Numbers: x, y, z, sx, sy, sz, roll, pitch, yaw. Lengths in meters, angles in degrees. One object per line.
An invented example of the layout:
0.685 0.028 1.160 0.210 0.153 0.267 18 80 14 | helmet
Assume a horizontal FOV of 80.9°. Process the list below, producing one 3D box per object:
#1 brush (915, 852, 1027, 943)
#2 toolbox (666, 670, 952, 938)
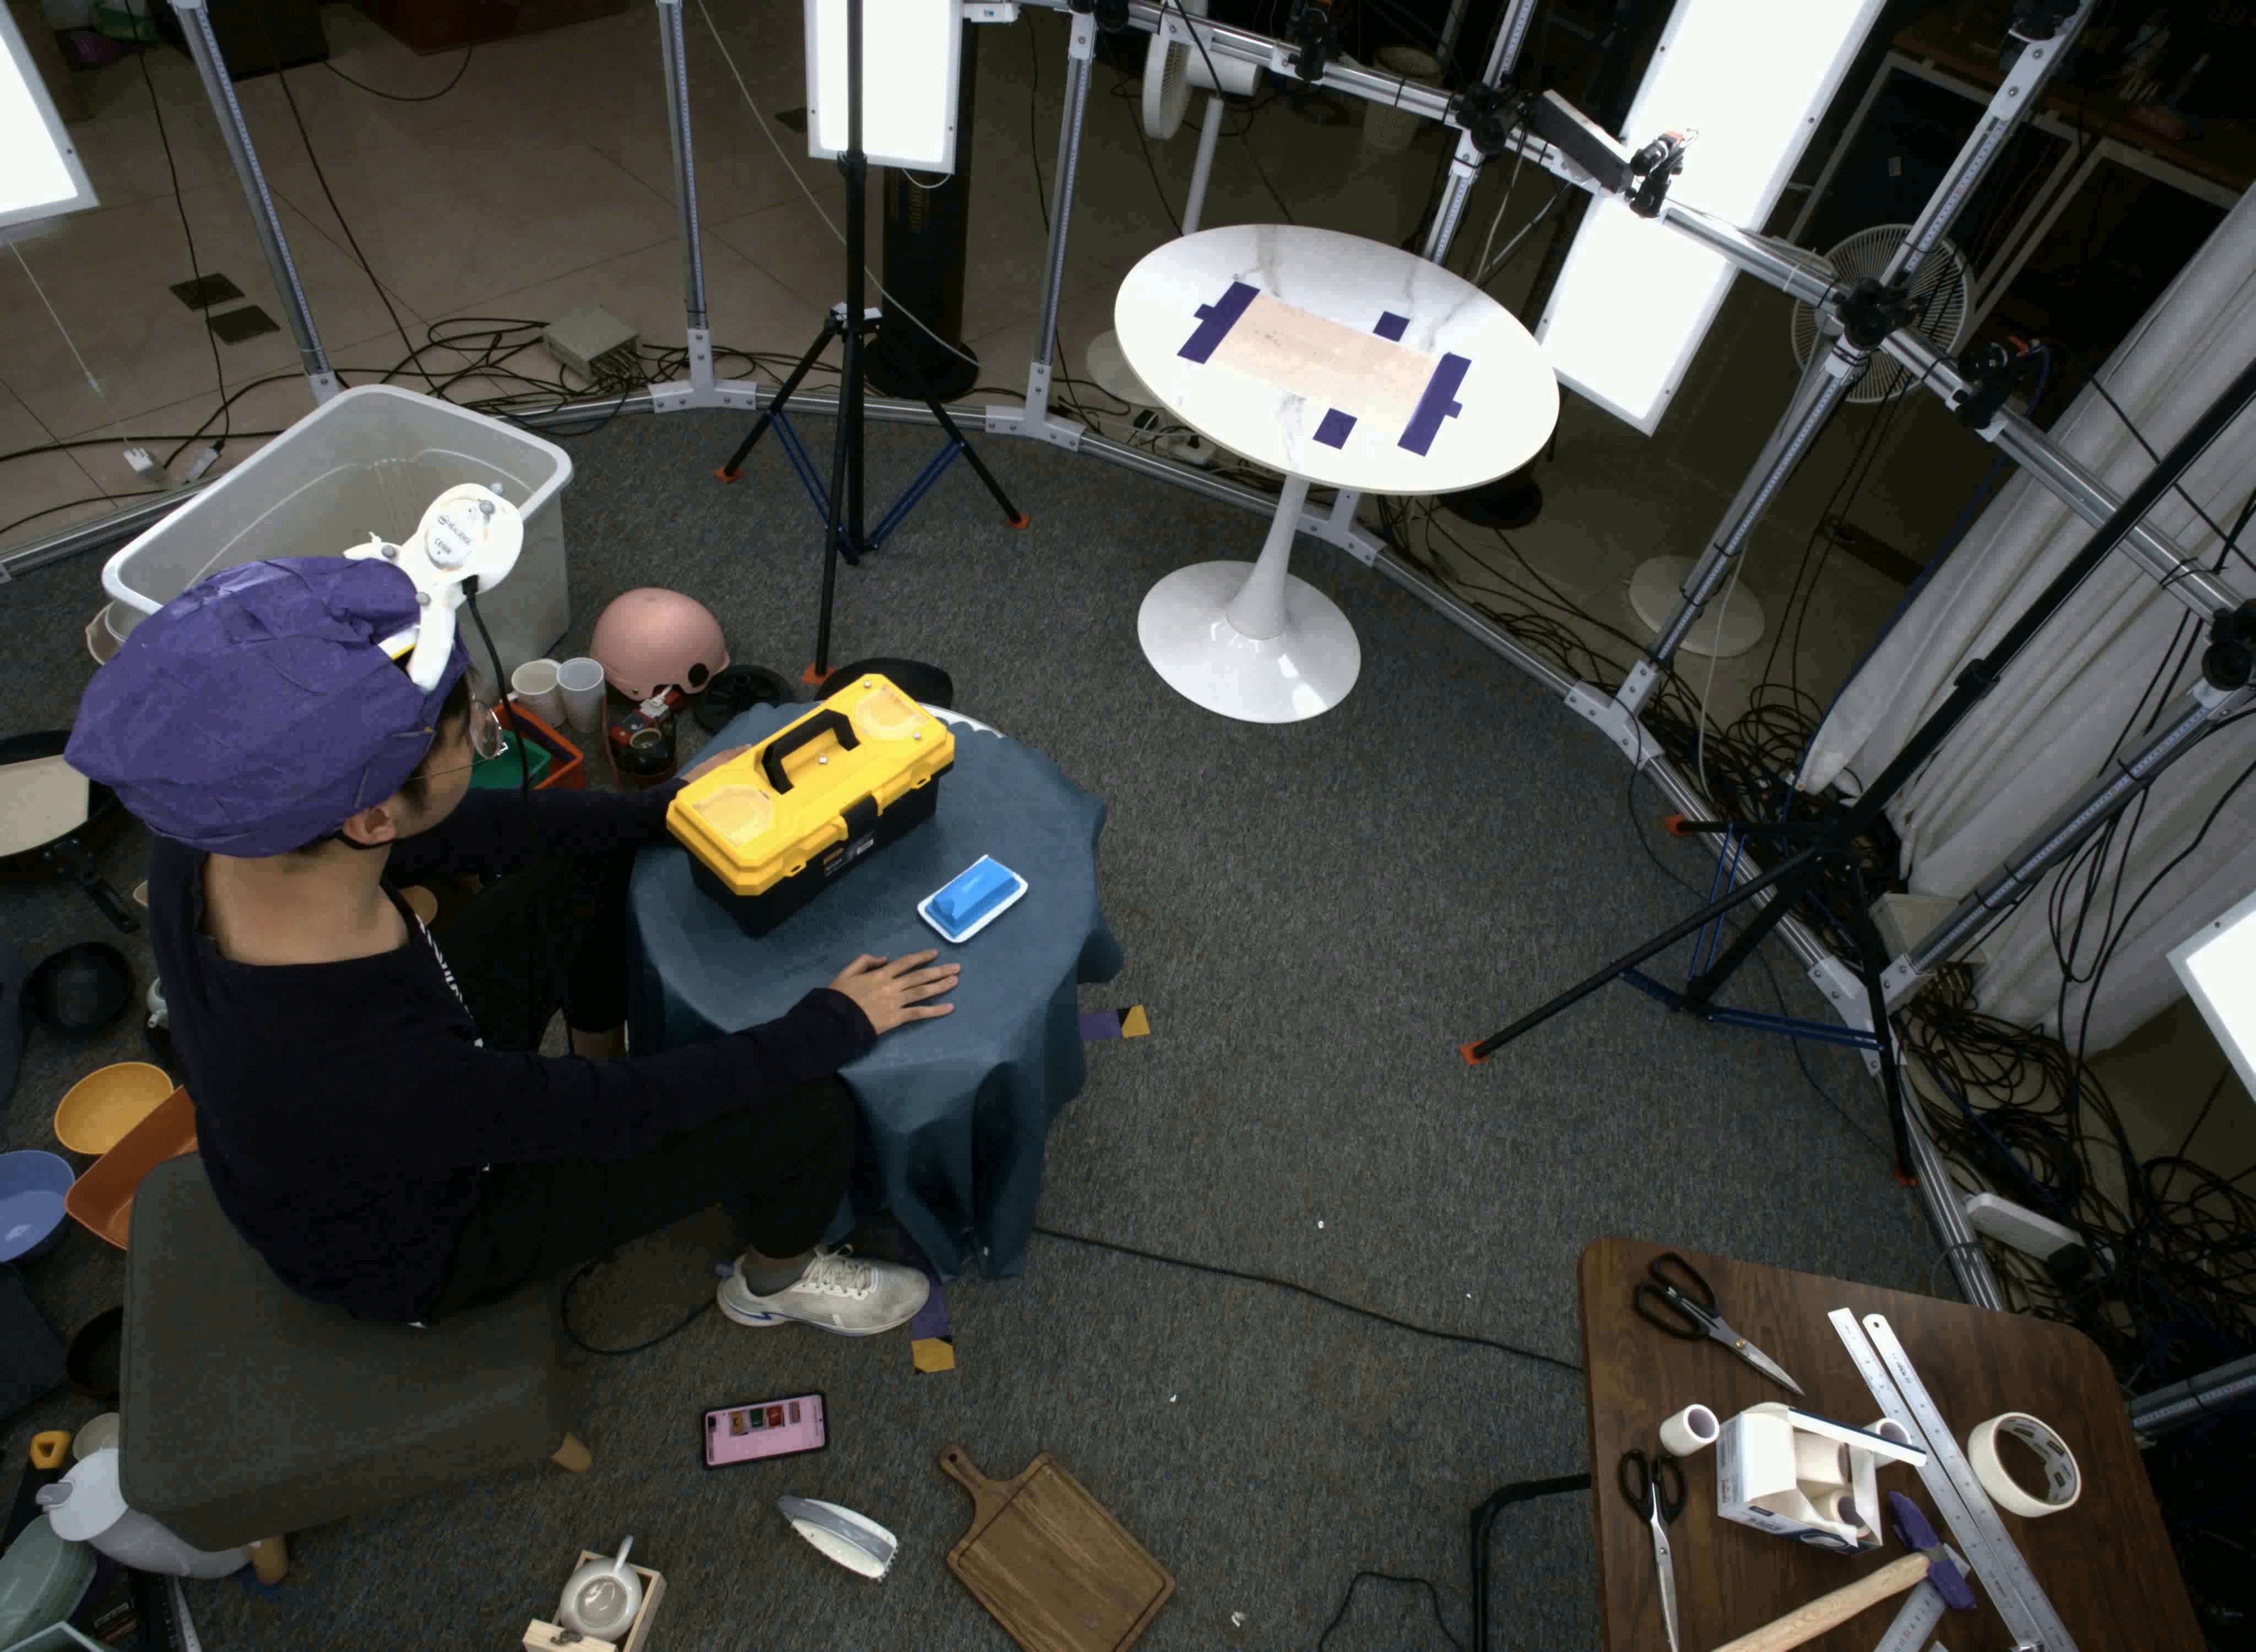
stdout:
-0.201 0.084 1.678 0.081 0.057 0.144 38 52 21 | brush
-0.394 -0.028 1.641 0.177 0.176 0.352 38 55 17 | toolbox
